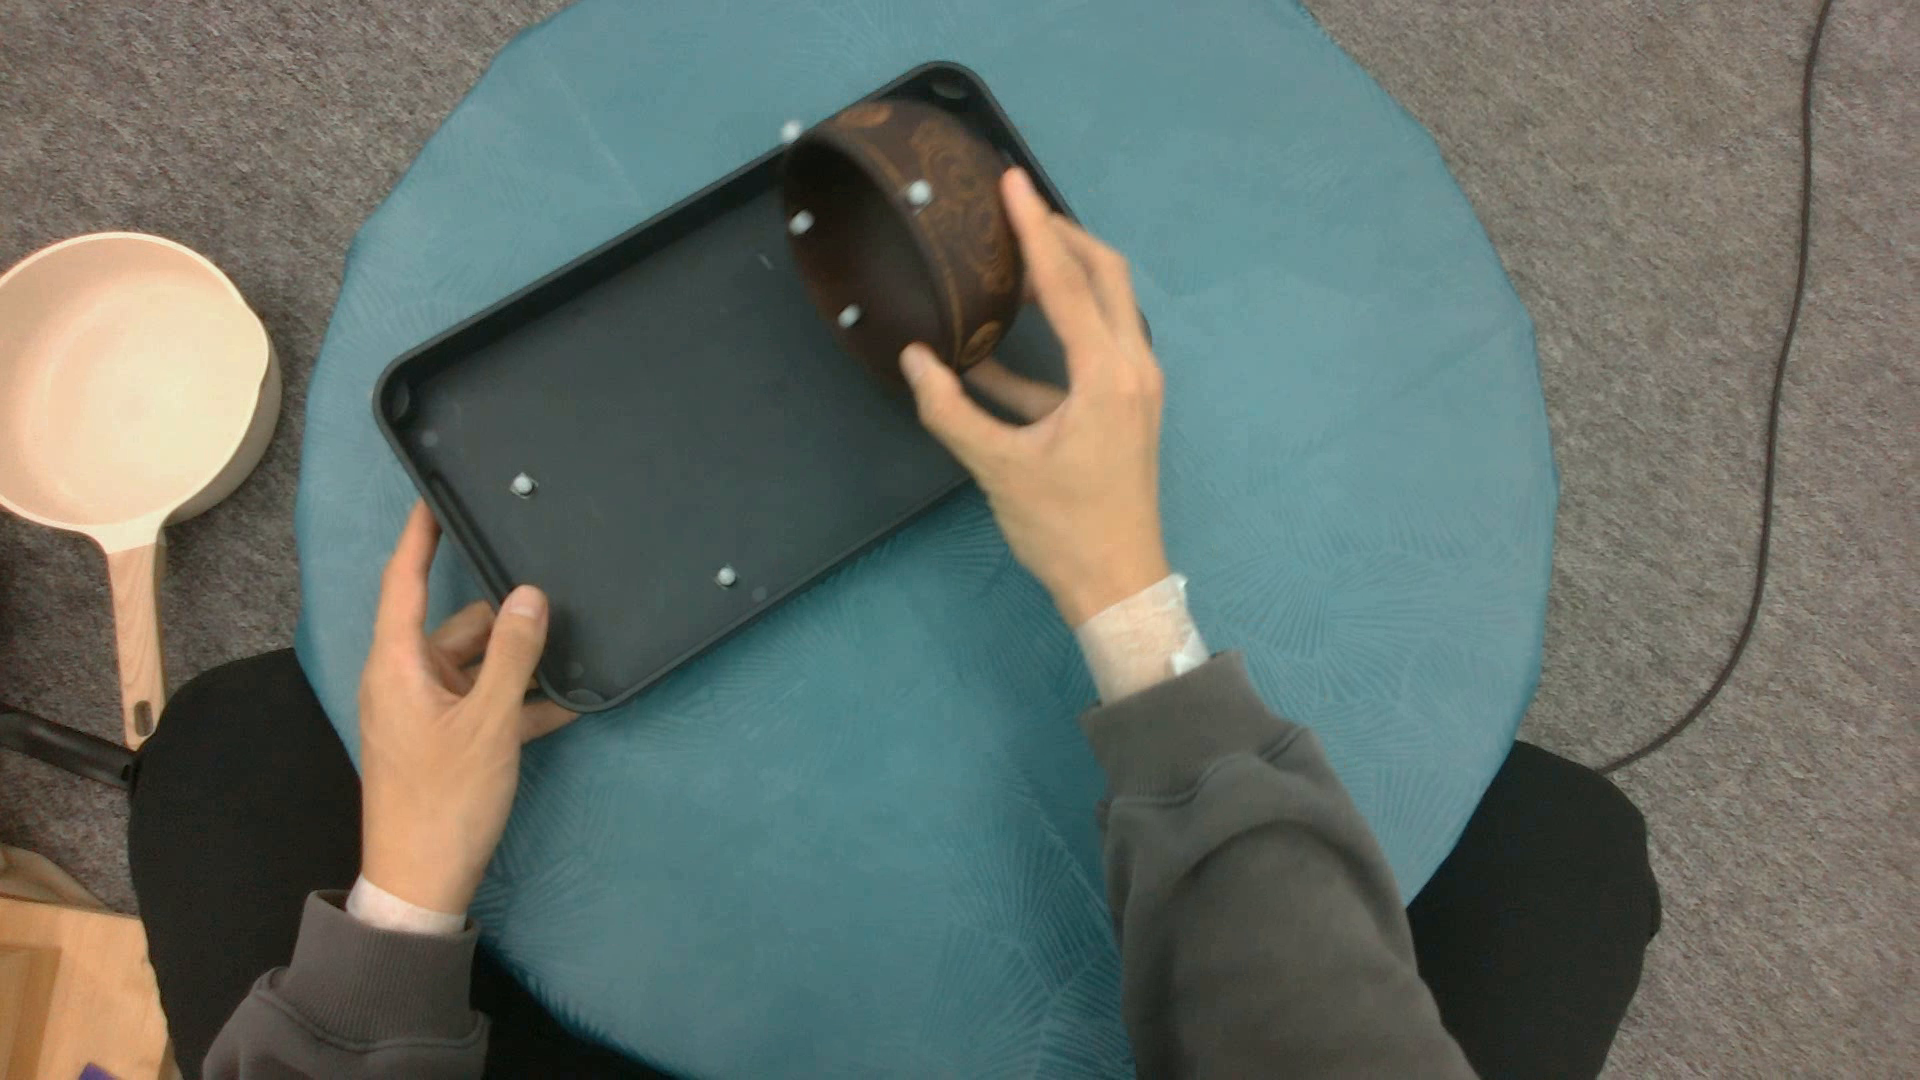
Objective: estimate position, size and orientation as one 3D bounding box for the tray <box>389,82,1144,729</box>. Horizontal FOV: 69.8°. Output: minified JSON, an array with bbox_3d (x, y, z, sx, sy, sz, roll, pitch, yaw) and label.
[{"bbox_3d":[-0.086,-0.068,0.653,0.318,0.037,0.184,-34,84,-10],"label":"tray"}]

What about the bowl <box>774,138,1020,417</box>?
[{"bbox_3d":[-0.019,-0.120,0.601,0.070,0.117,0.118,-36,83,-25],"label":"bowl"}]
